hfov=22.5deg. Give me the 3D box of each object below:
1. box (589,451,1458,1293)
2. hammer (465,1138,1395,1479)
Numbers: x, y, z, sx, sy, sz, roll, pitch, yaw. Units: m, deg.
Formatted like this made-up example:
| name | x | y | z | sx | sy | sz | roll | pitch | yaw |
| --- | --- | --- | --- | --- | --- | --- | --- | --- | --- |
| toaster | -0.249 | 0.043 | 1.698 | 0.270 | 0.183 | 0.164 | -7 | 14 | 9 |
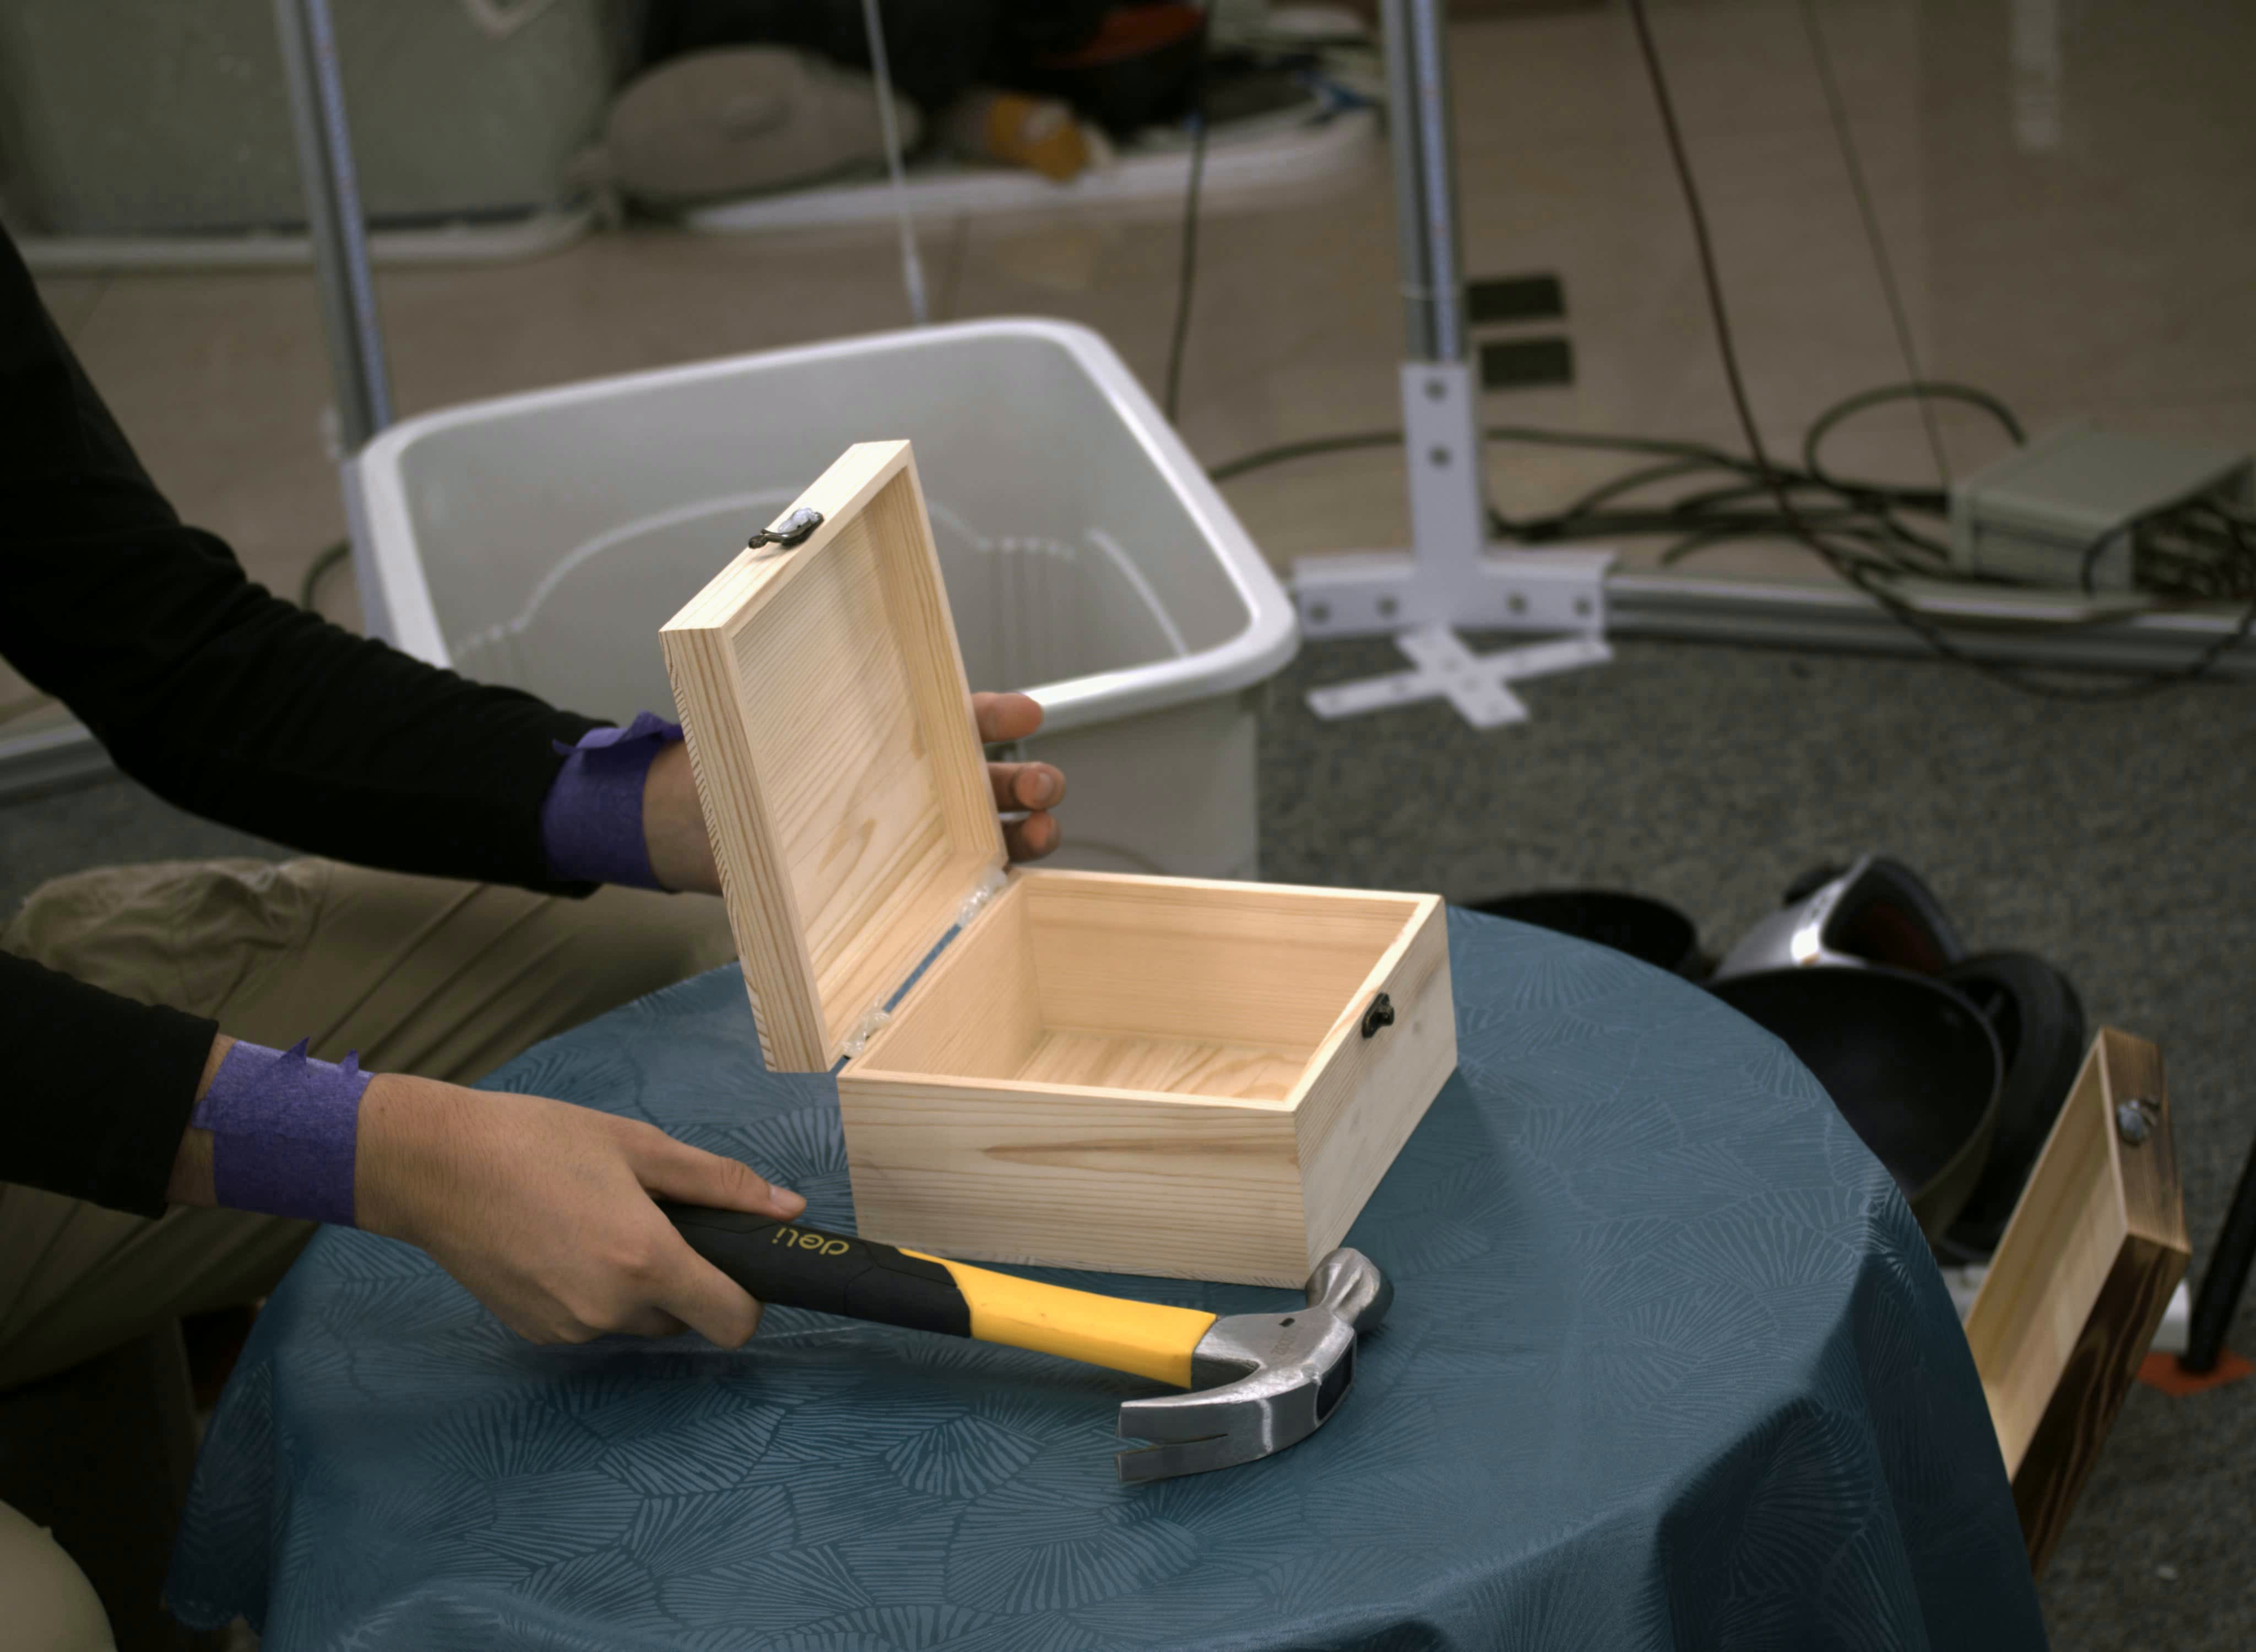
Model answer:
| name | x | y | z | sx | sy | sz | roll | pitch | yaw |
| --- | --- | --- | --- | --- | --- | --- | --- | --- | --- |
| box | -0.029 | 0.013 | 2.129 | 0.264 | 0.257 | 0.179 | 4 | 29 | 20 |
| hammer | -0.083 | 0.161 | 2.036 | 0.337 | 0.033 | 0.129 | 12 | 30 | 18 |
